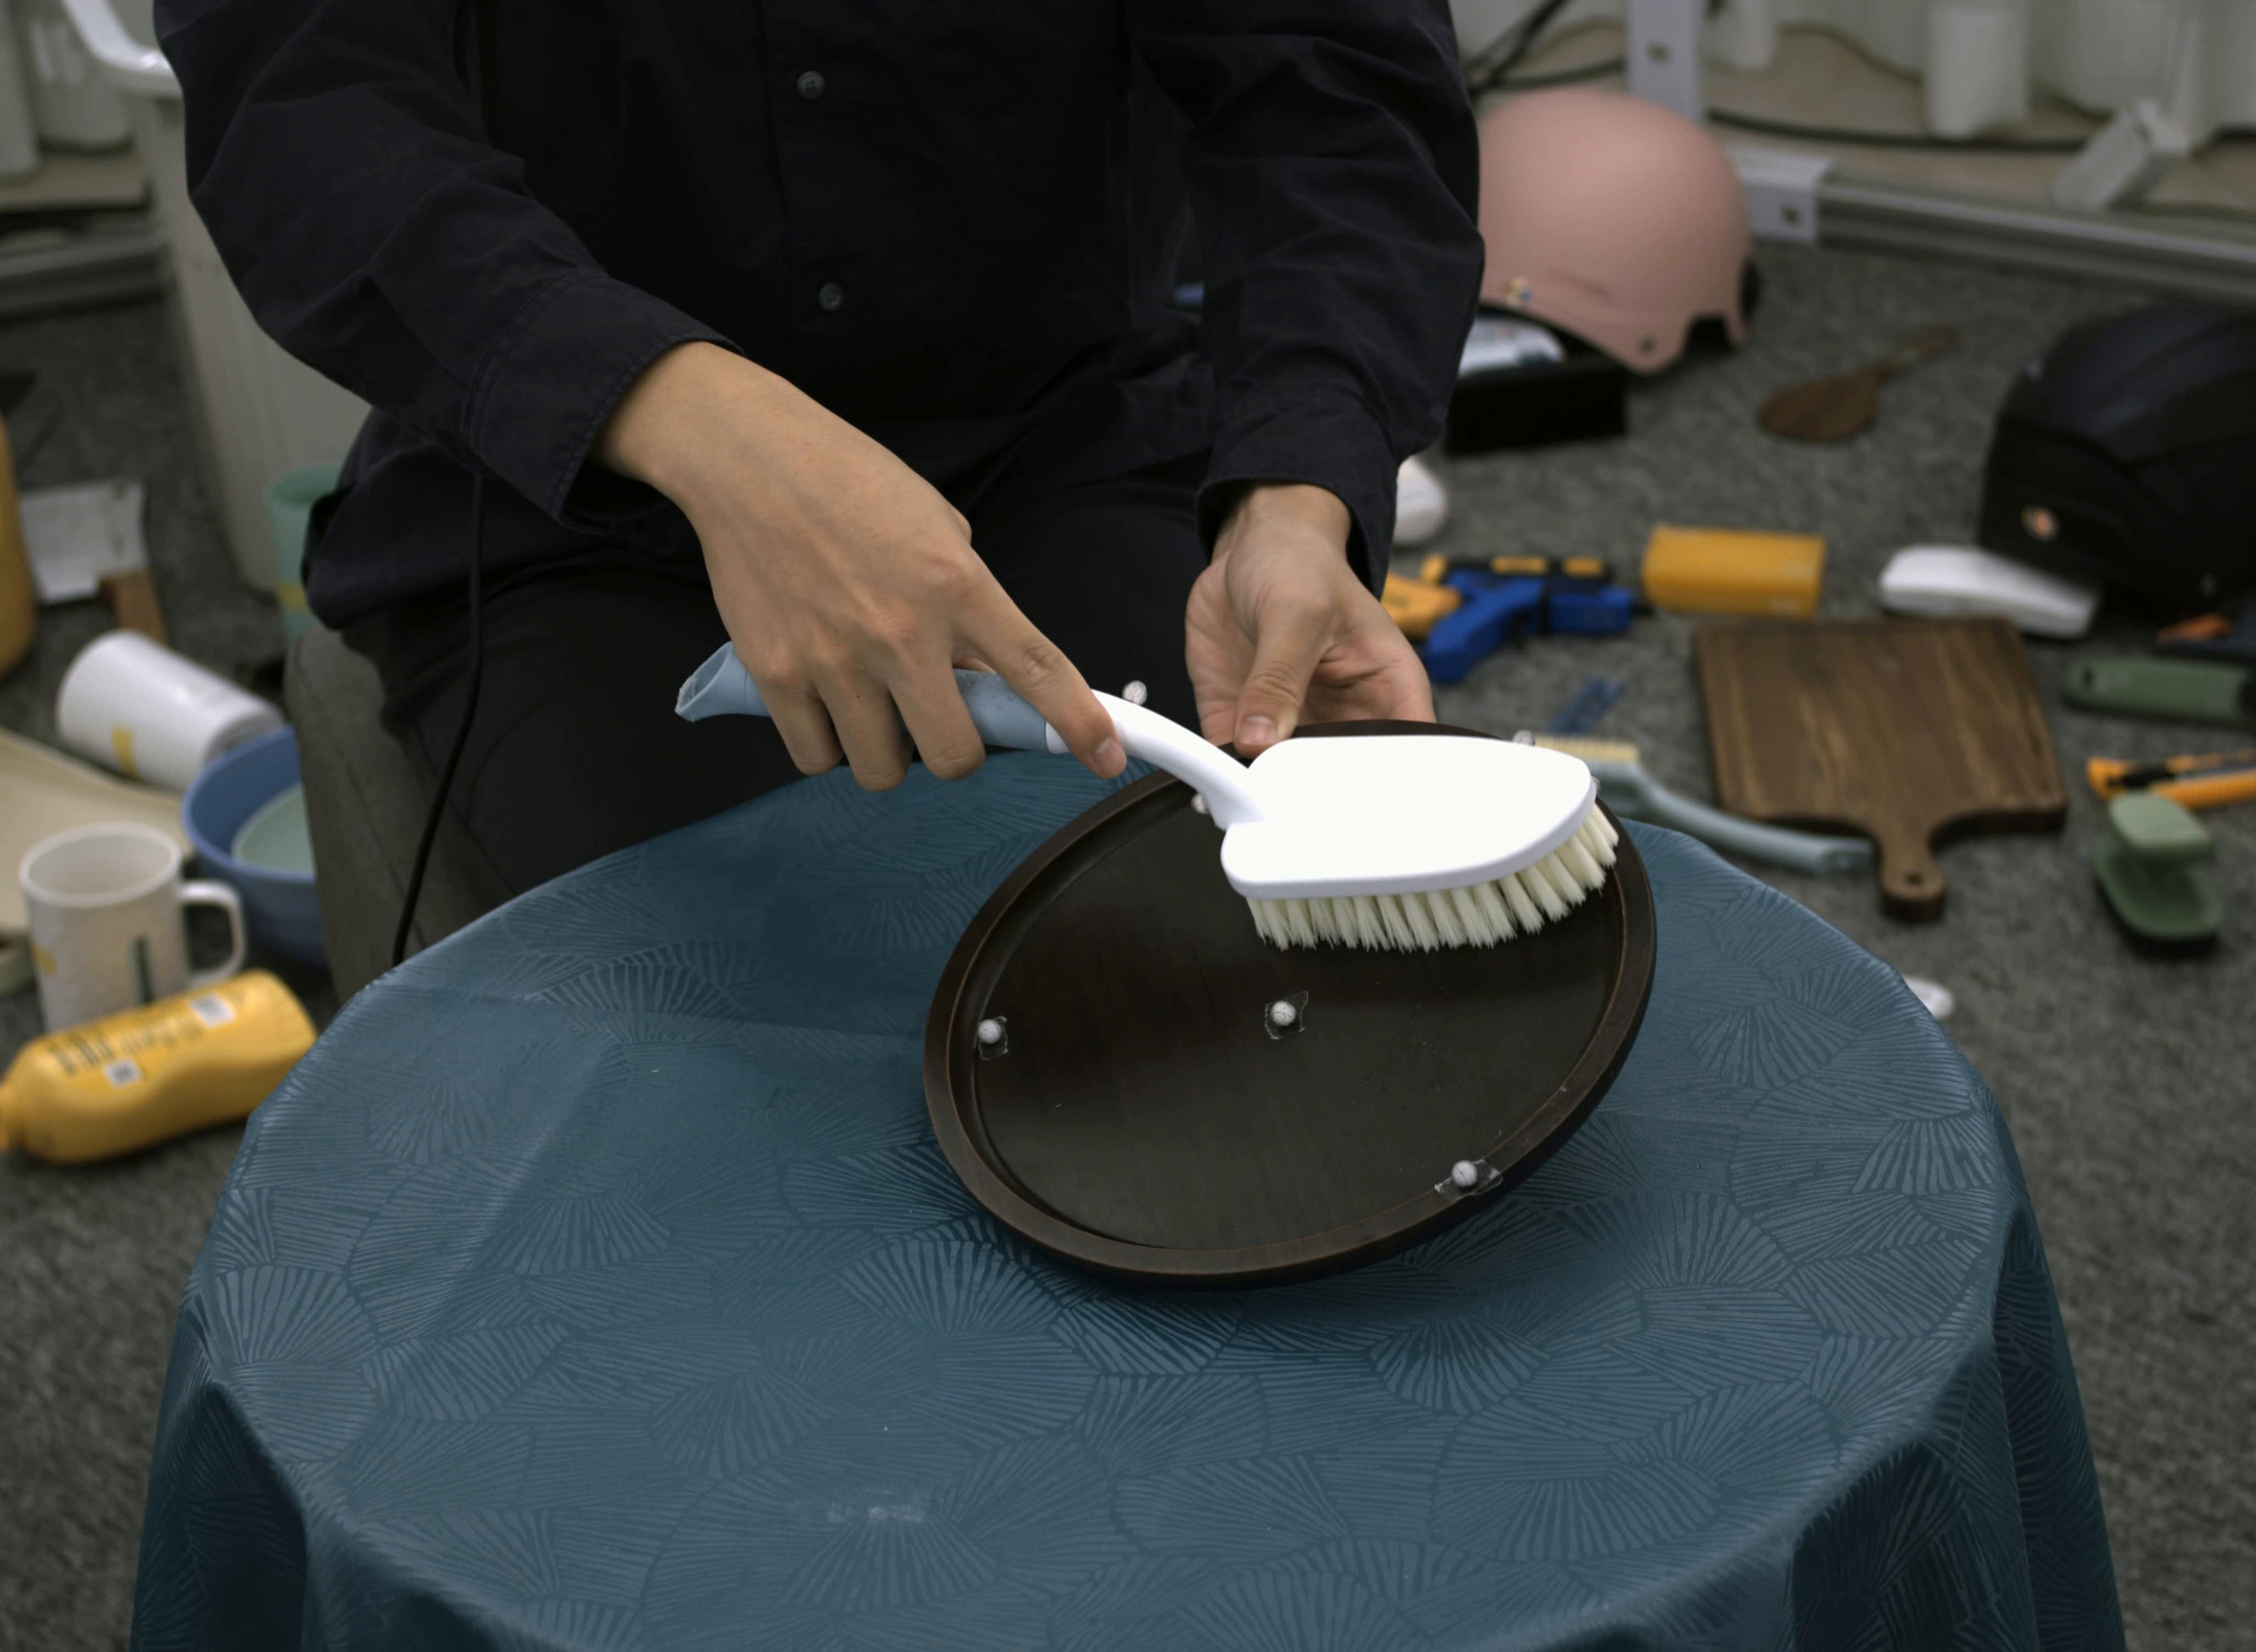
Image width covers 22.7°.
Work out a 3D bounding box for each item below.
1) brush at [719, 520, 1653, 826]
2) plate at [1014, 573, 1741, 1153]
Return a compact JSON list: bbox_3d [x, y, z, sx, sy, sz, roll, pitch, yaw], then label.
[{"bbox_3d":[0.019,-0.049,1.921,0.323,0.084,0.083,7,6,14],"label":"brush"},{"bbox_3d":[0.084,0.013,1.890,0.252,0.028,0.260,-13,41,12],"label":"plate"}]
